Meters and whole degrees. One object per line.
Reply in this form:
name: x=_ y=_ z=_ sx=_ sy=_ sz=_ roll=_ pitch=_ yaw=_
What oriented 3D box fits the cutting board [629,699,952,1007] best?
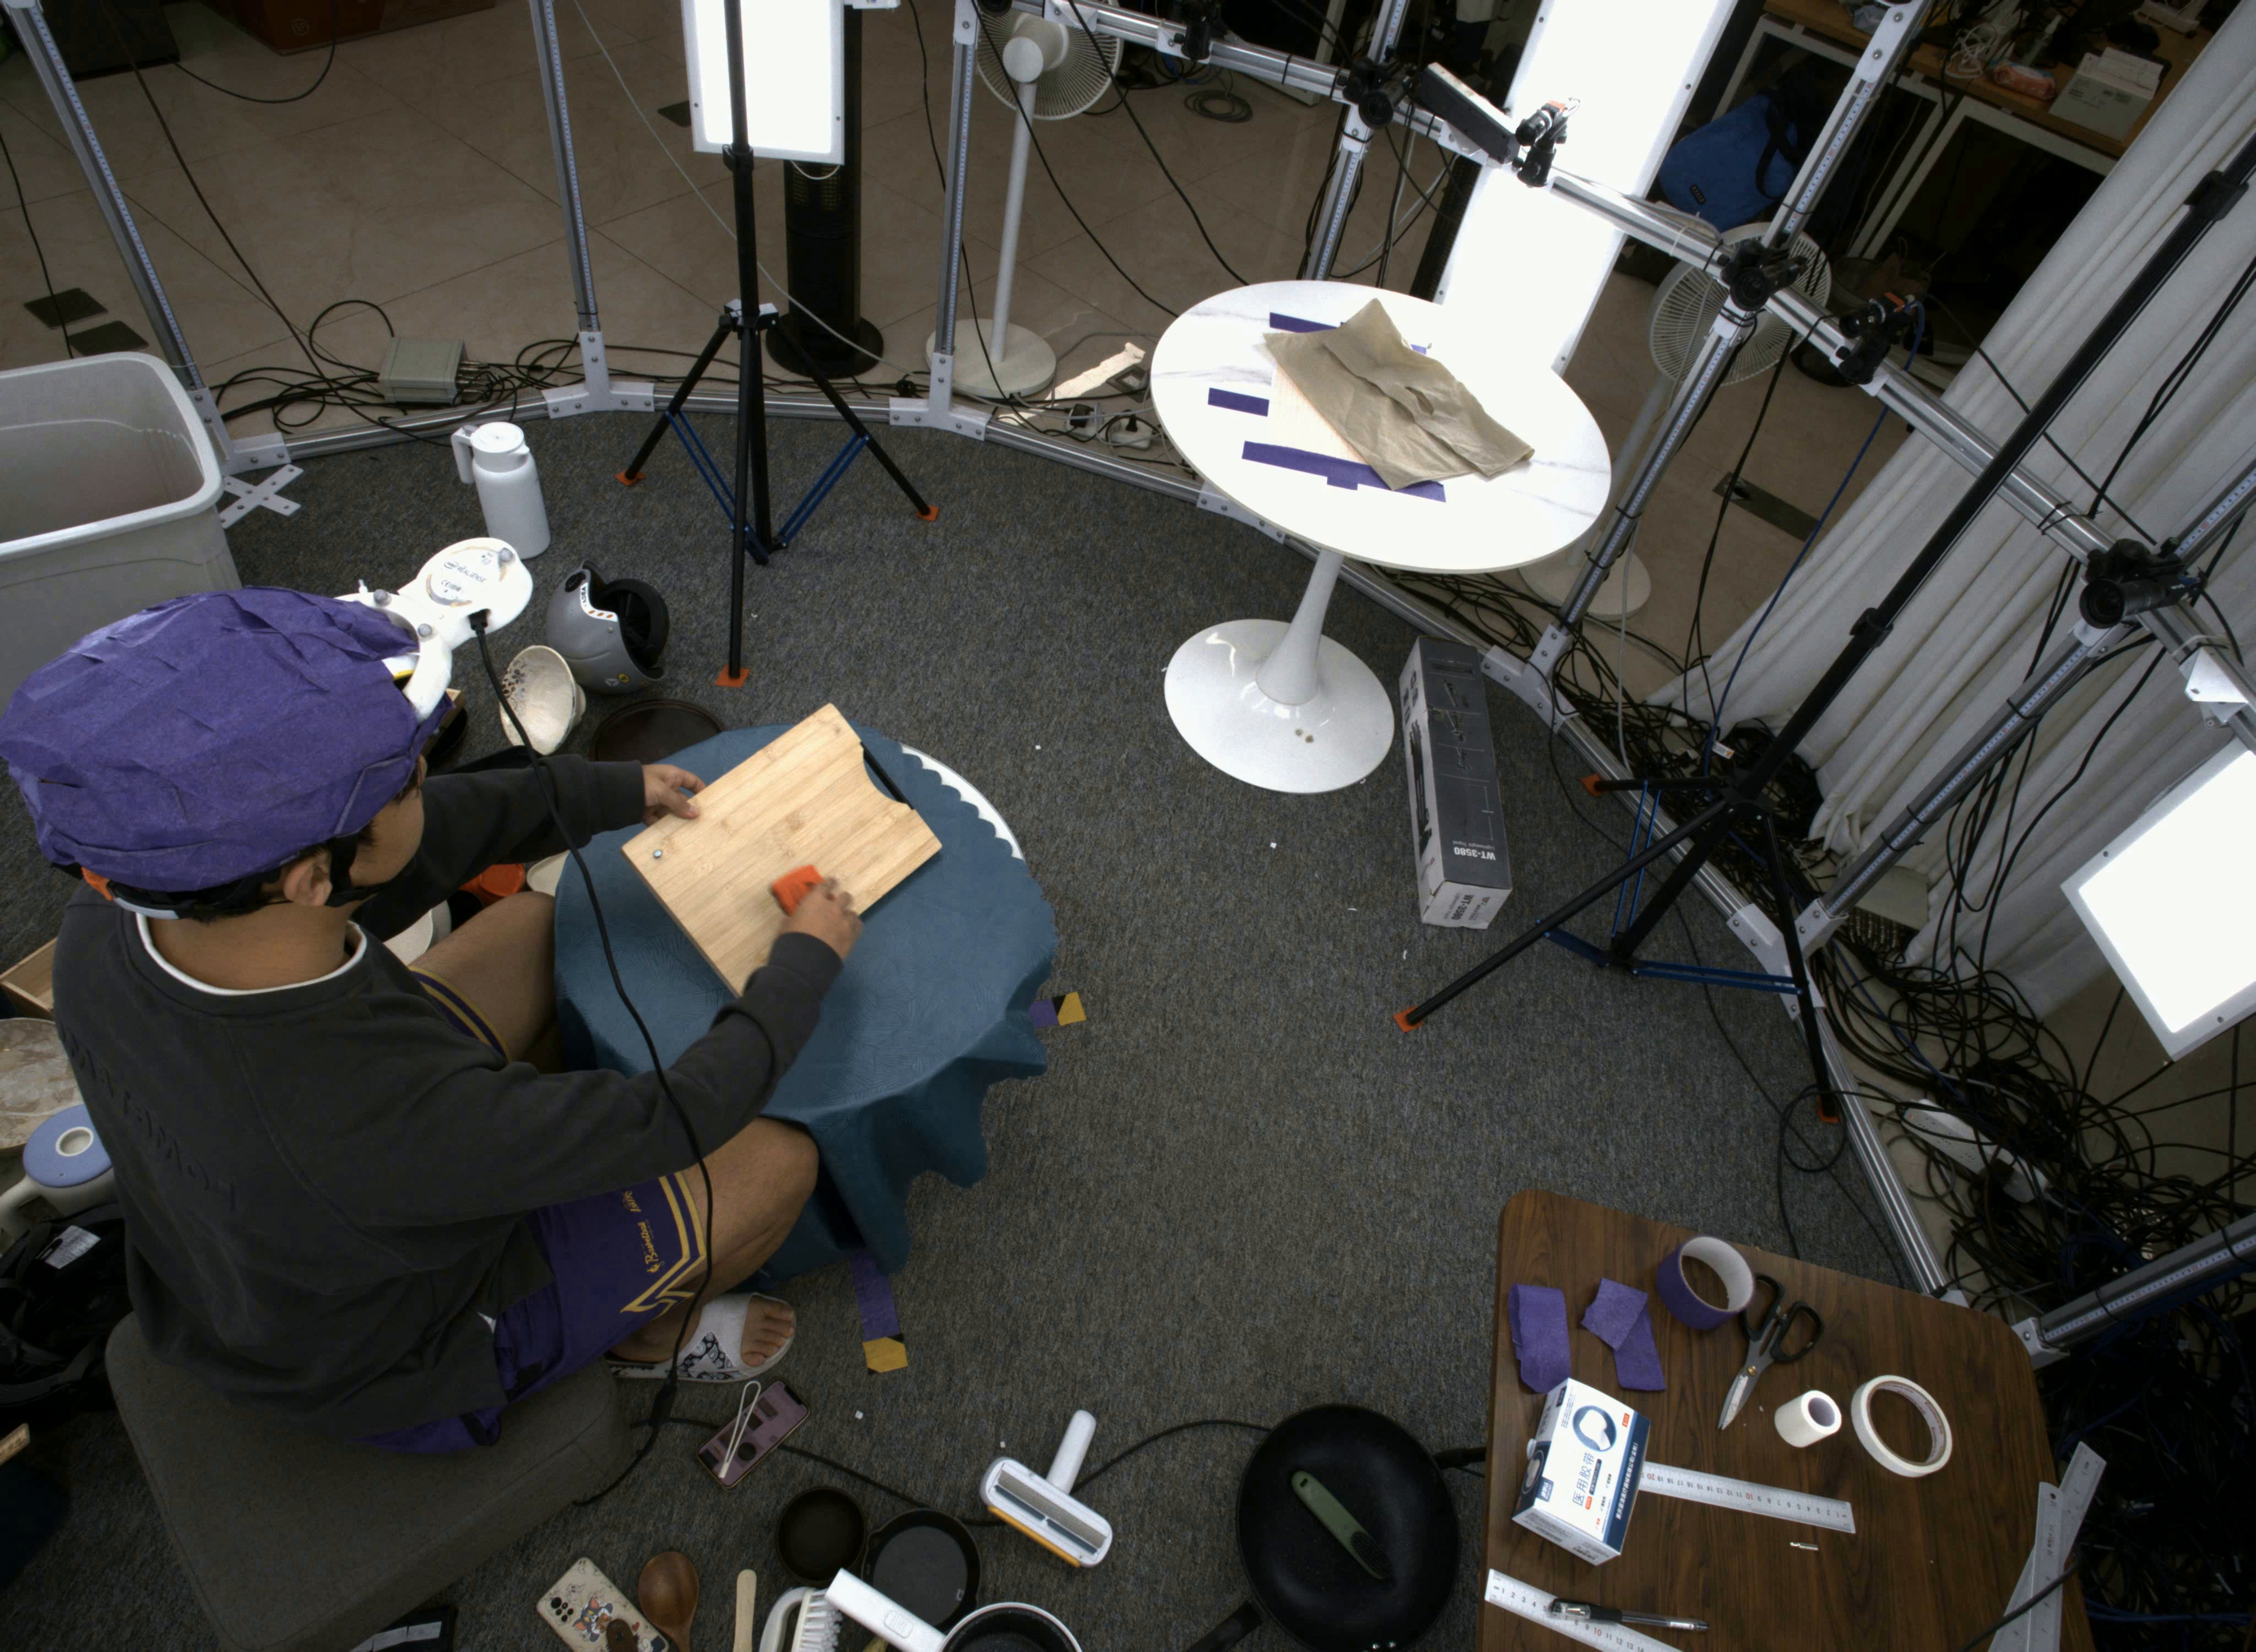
cutting board: x=-0.416 y=0.024 z=1.629 sx=0.348 sy=0.023 sz=0.255 roll=-44 pitch=103 yaw=-35

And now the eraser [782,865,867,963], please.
eraser: x=-0.362 y=0.103 z=1.545 sx=0.059 sy=0.022 sz=0.109 roll=-35 pitch=97 yaw=-37
